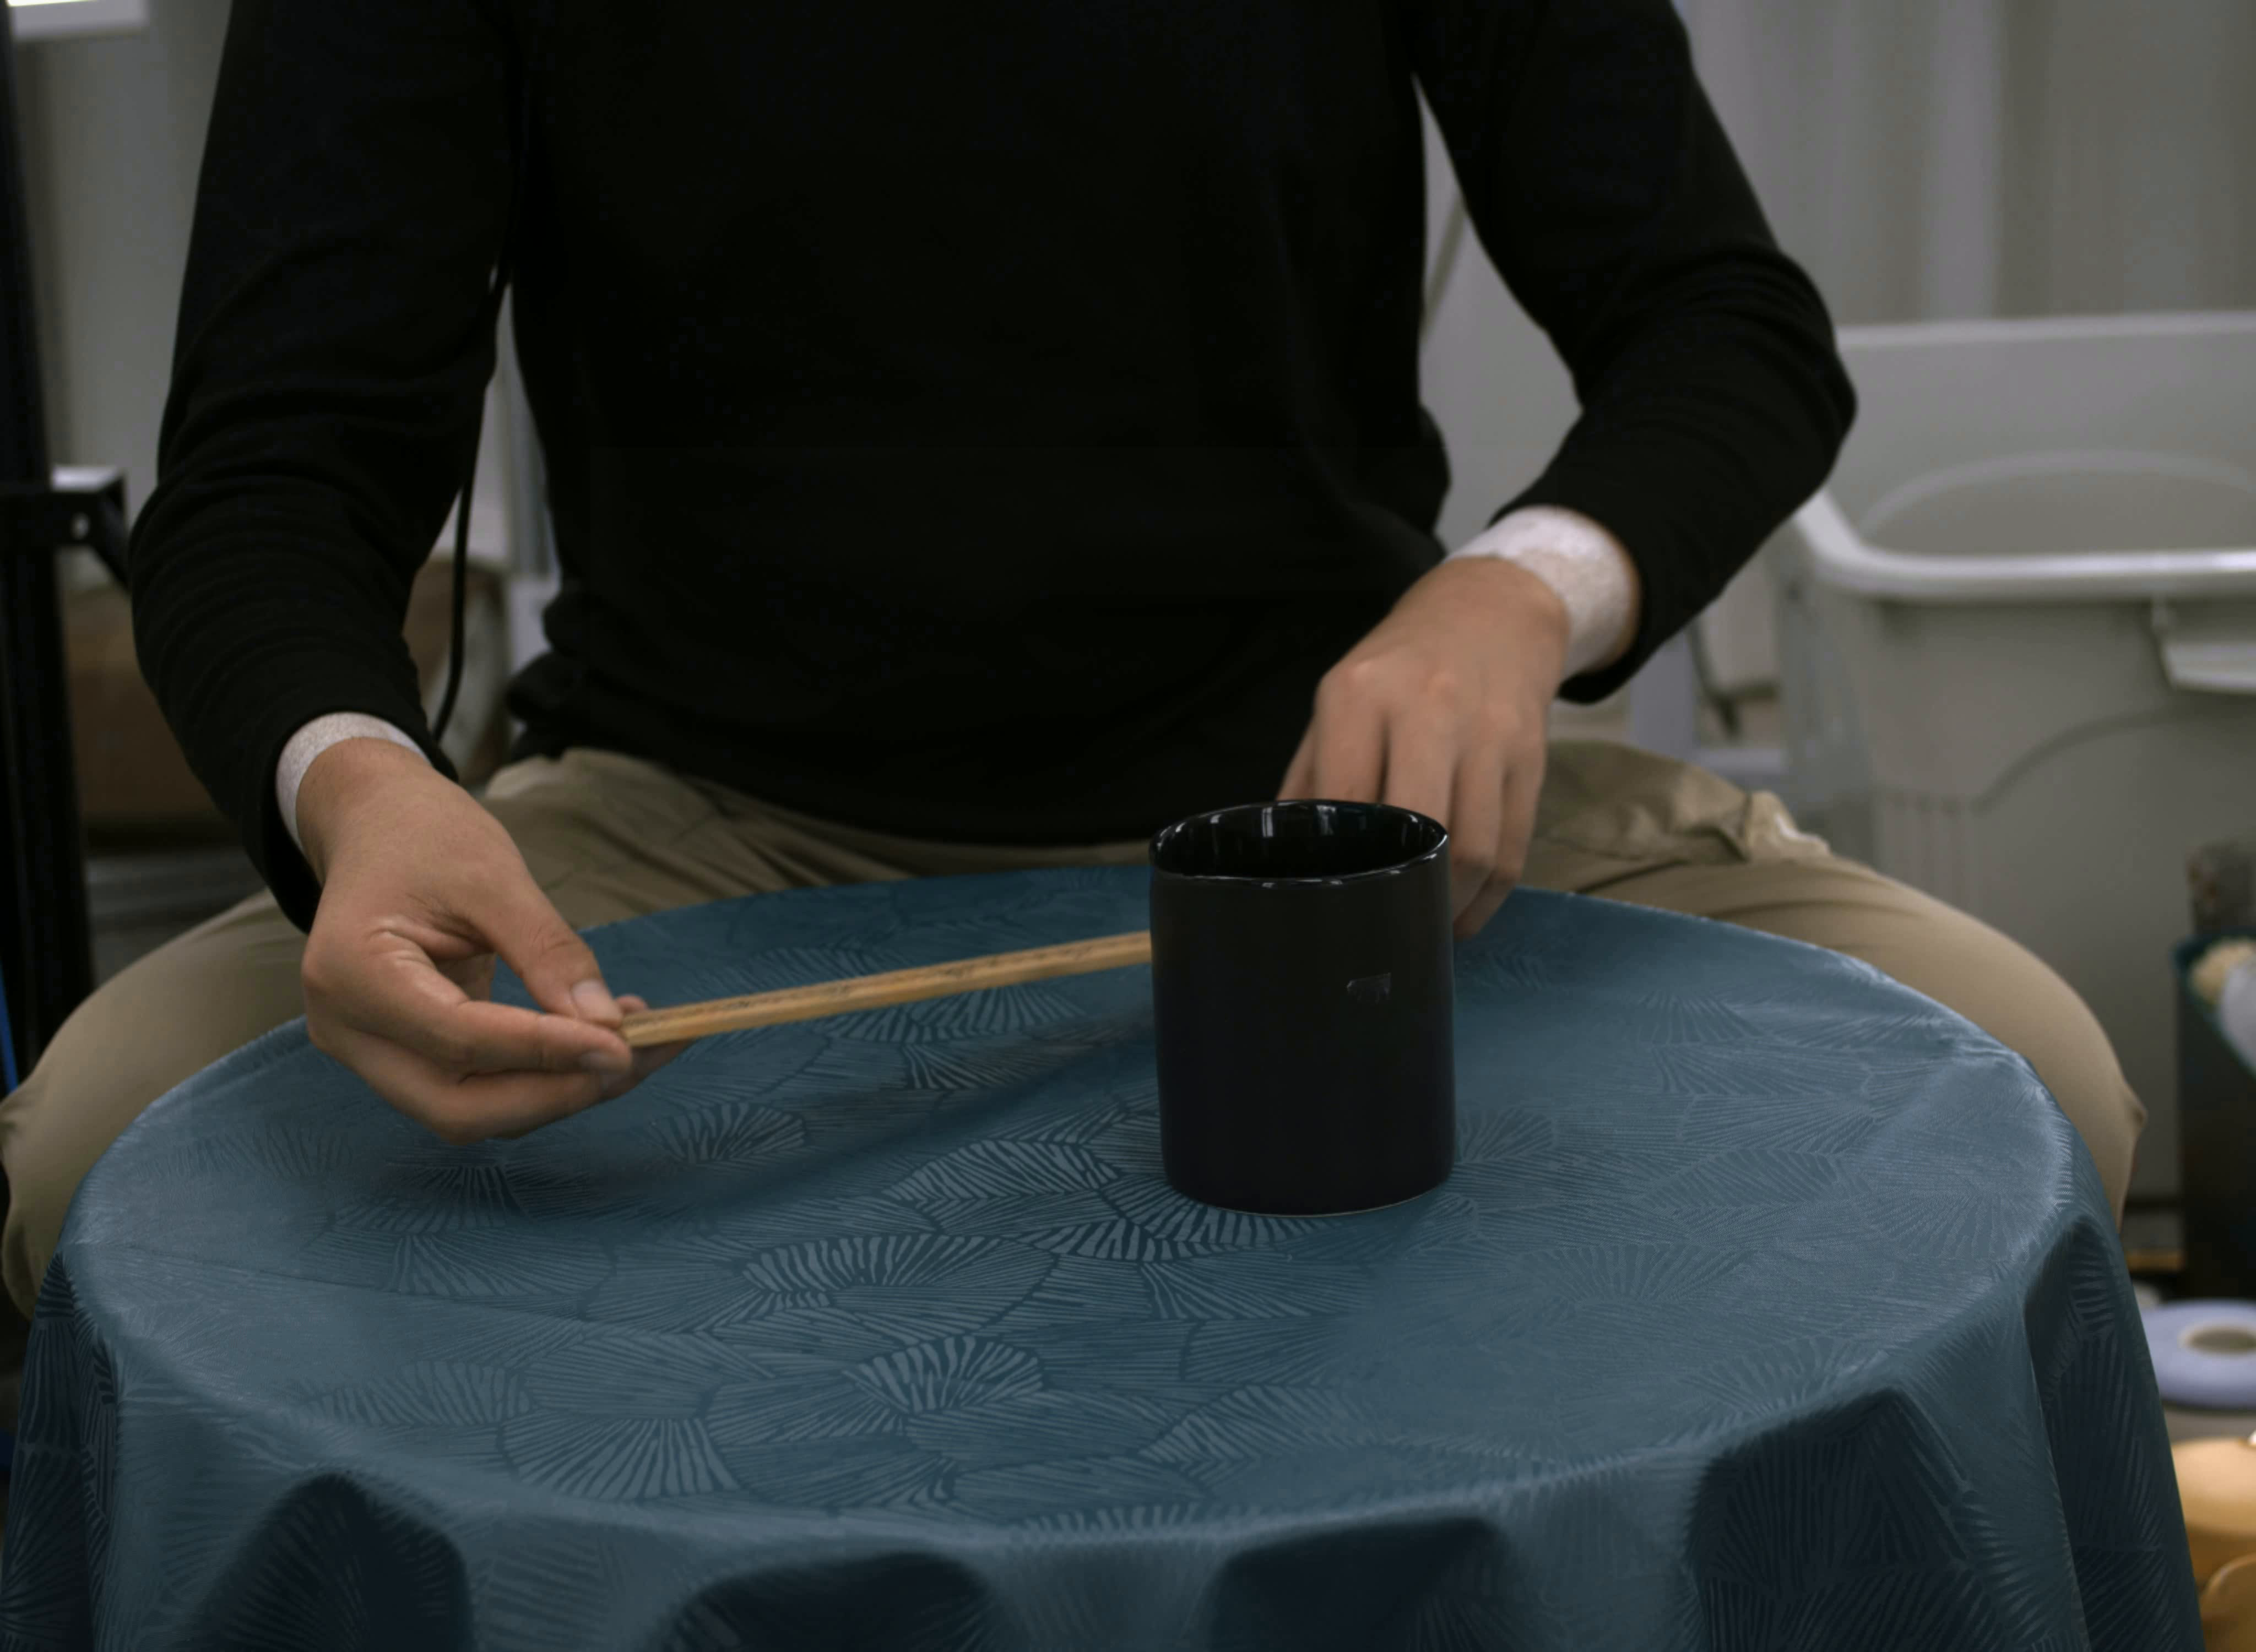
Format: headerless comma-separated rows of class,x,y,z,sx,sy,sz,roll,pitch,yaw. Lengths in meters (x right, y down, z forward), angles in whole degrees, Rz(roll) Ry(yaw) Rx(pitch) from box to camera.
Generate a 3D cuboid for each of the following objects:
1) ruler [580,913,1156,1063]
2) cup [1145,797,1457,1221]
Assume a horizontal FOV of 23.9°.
ruler,-0.031,0.044,1.663,0.323,0.022,0.028,-8,16,-40
cup,0.049,0.049,1.573,0.088,0.105,0.125,-5,15,-5
